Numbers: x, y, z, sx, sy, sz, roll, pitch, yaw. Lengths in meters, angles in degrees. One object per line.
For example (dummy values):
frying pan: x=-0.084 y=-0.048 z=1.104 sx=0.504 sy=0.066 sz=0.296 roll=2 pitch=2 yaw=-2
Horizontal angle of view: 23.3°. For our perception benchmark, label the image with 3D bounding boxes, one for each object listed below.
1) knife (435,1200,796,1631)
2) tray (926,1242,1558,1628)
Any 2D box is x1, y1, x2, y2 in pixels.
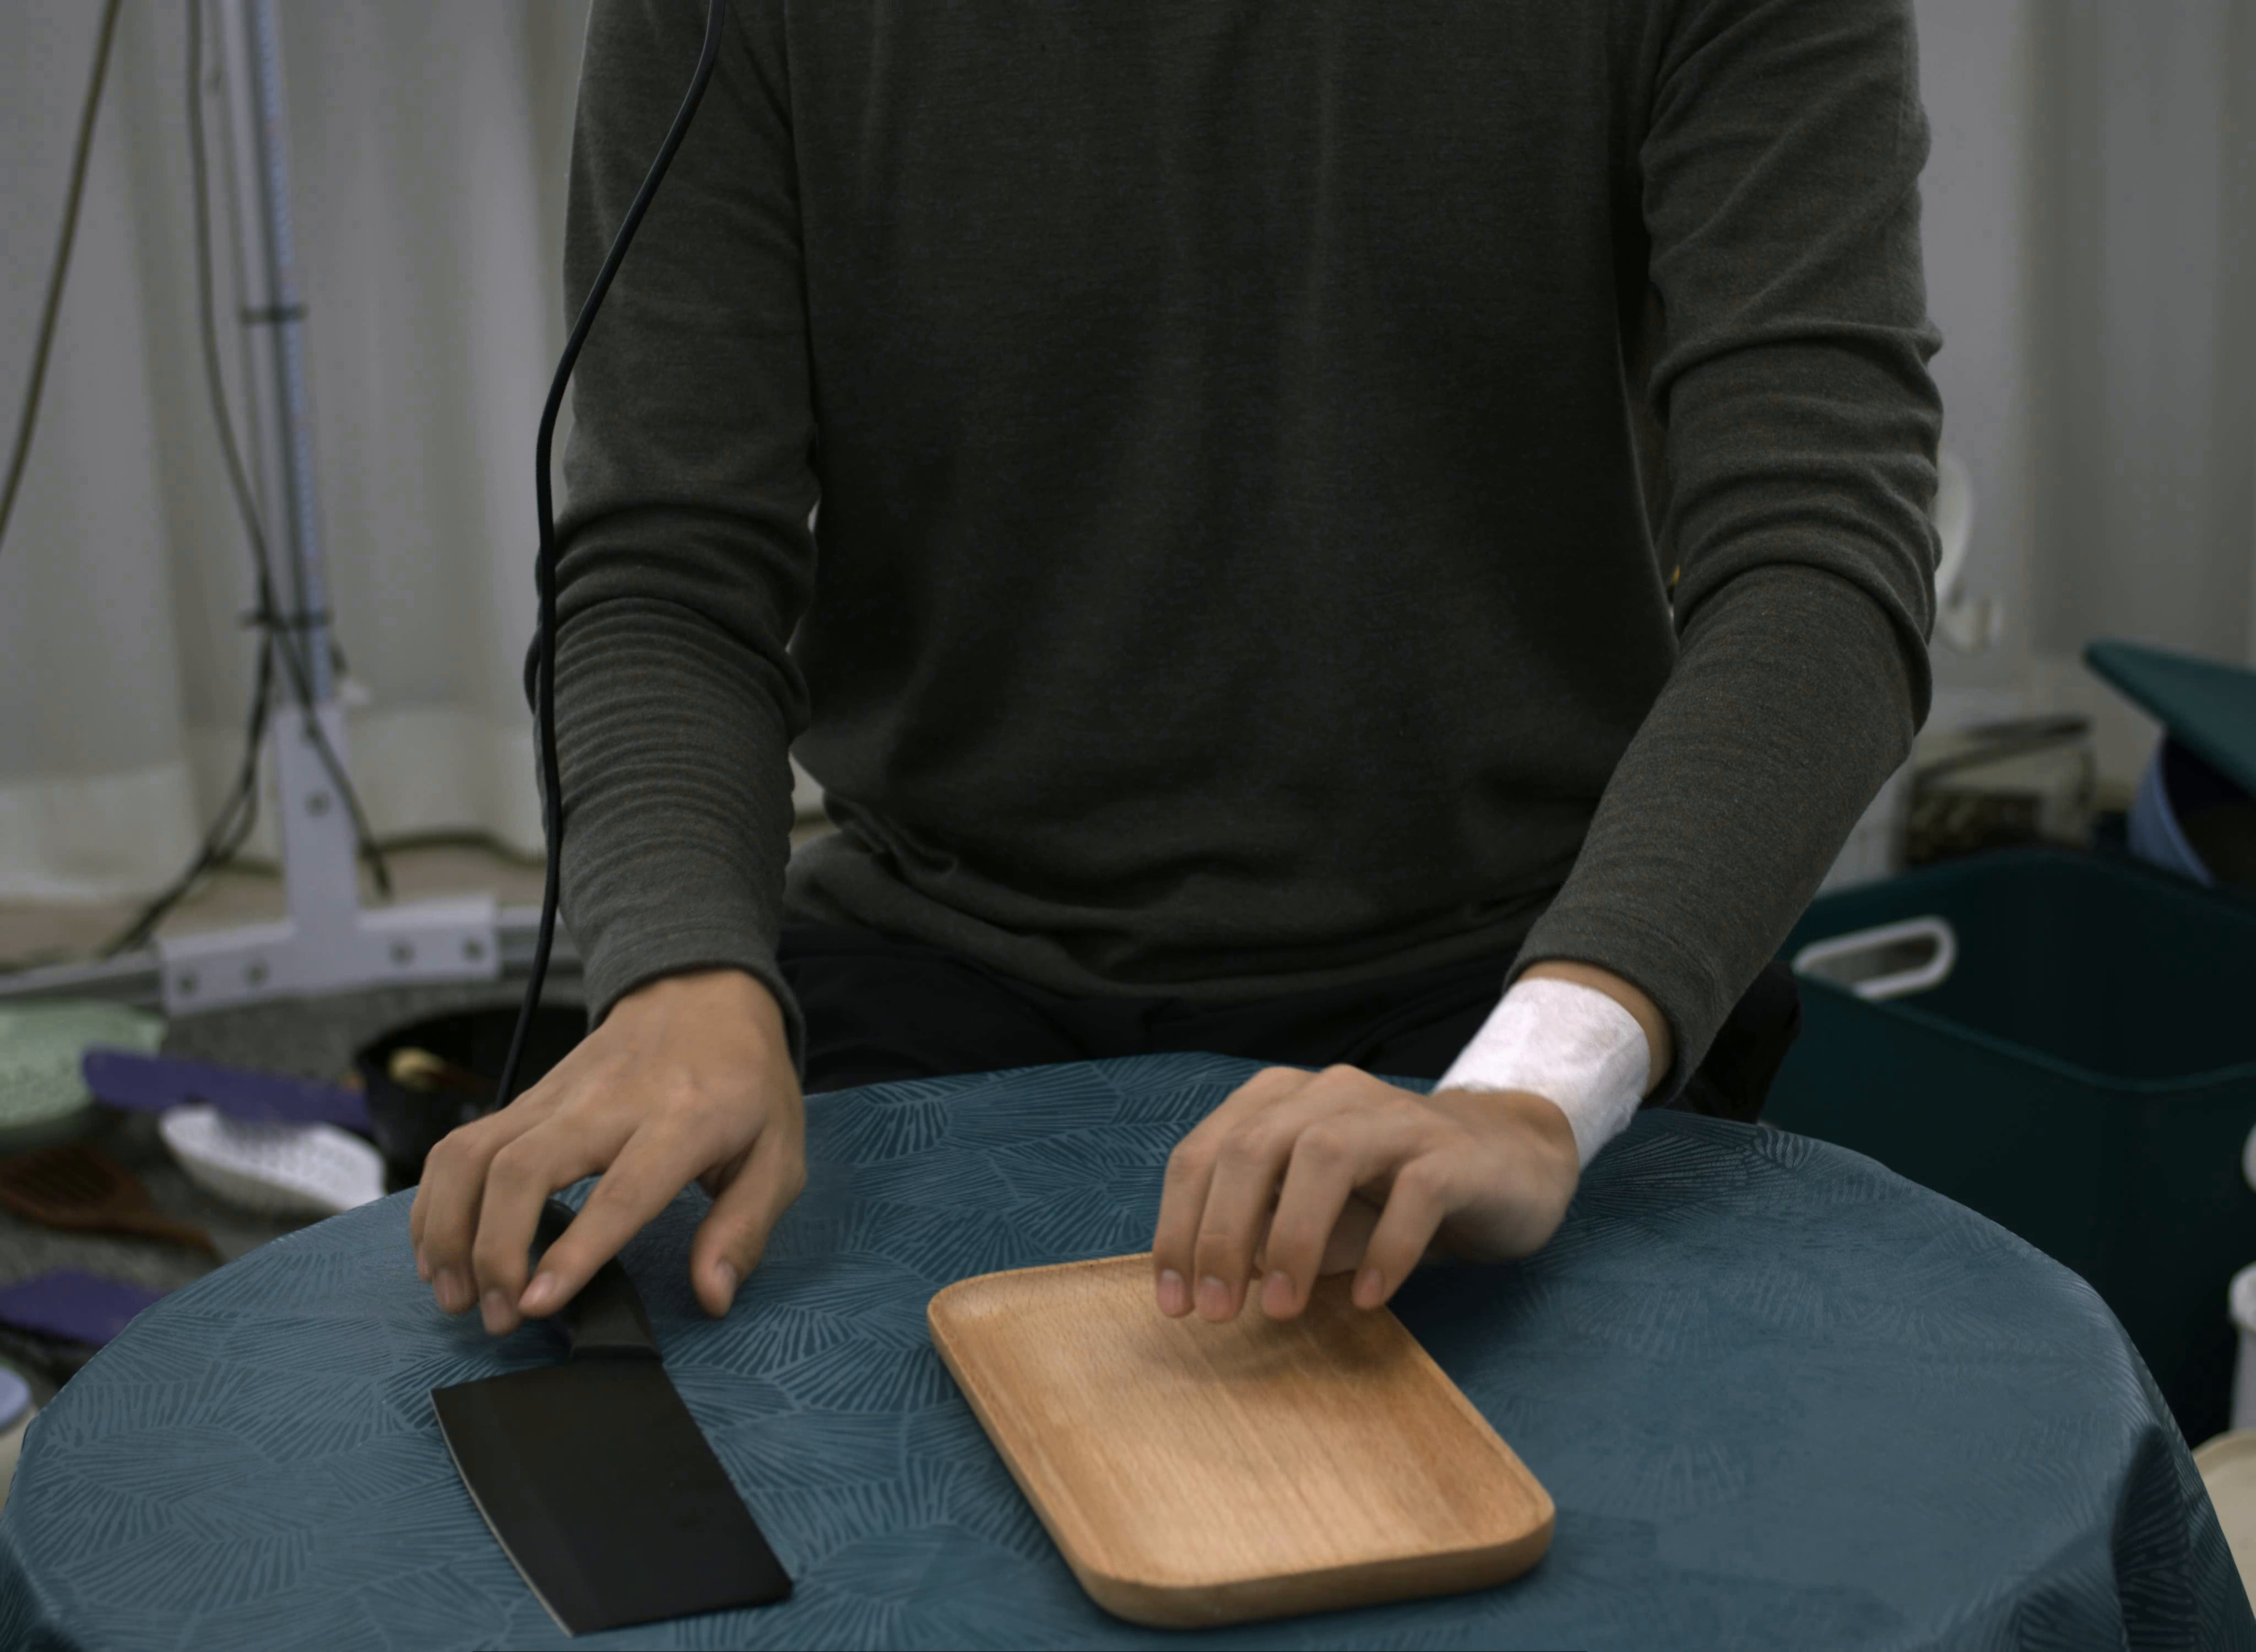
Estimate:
knife: x=-0.155 y=0.163 z=1.539 sx=0.080 sy=0.021 sz=0.305 roll=-8 pitch=17 yaw=-11
tray: x=0.026 y=0.164 z=1.498 sx=0.130 sy=0.023 sz=0.252 roll=-3 pitch=14 yaw=-12
